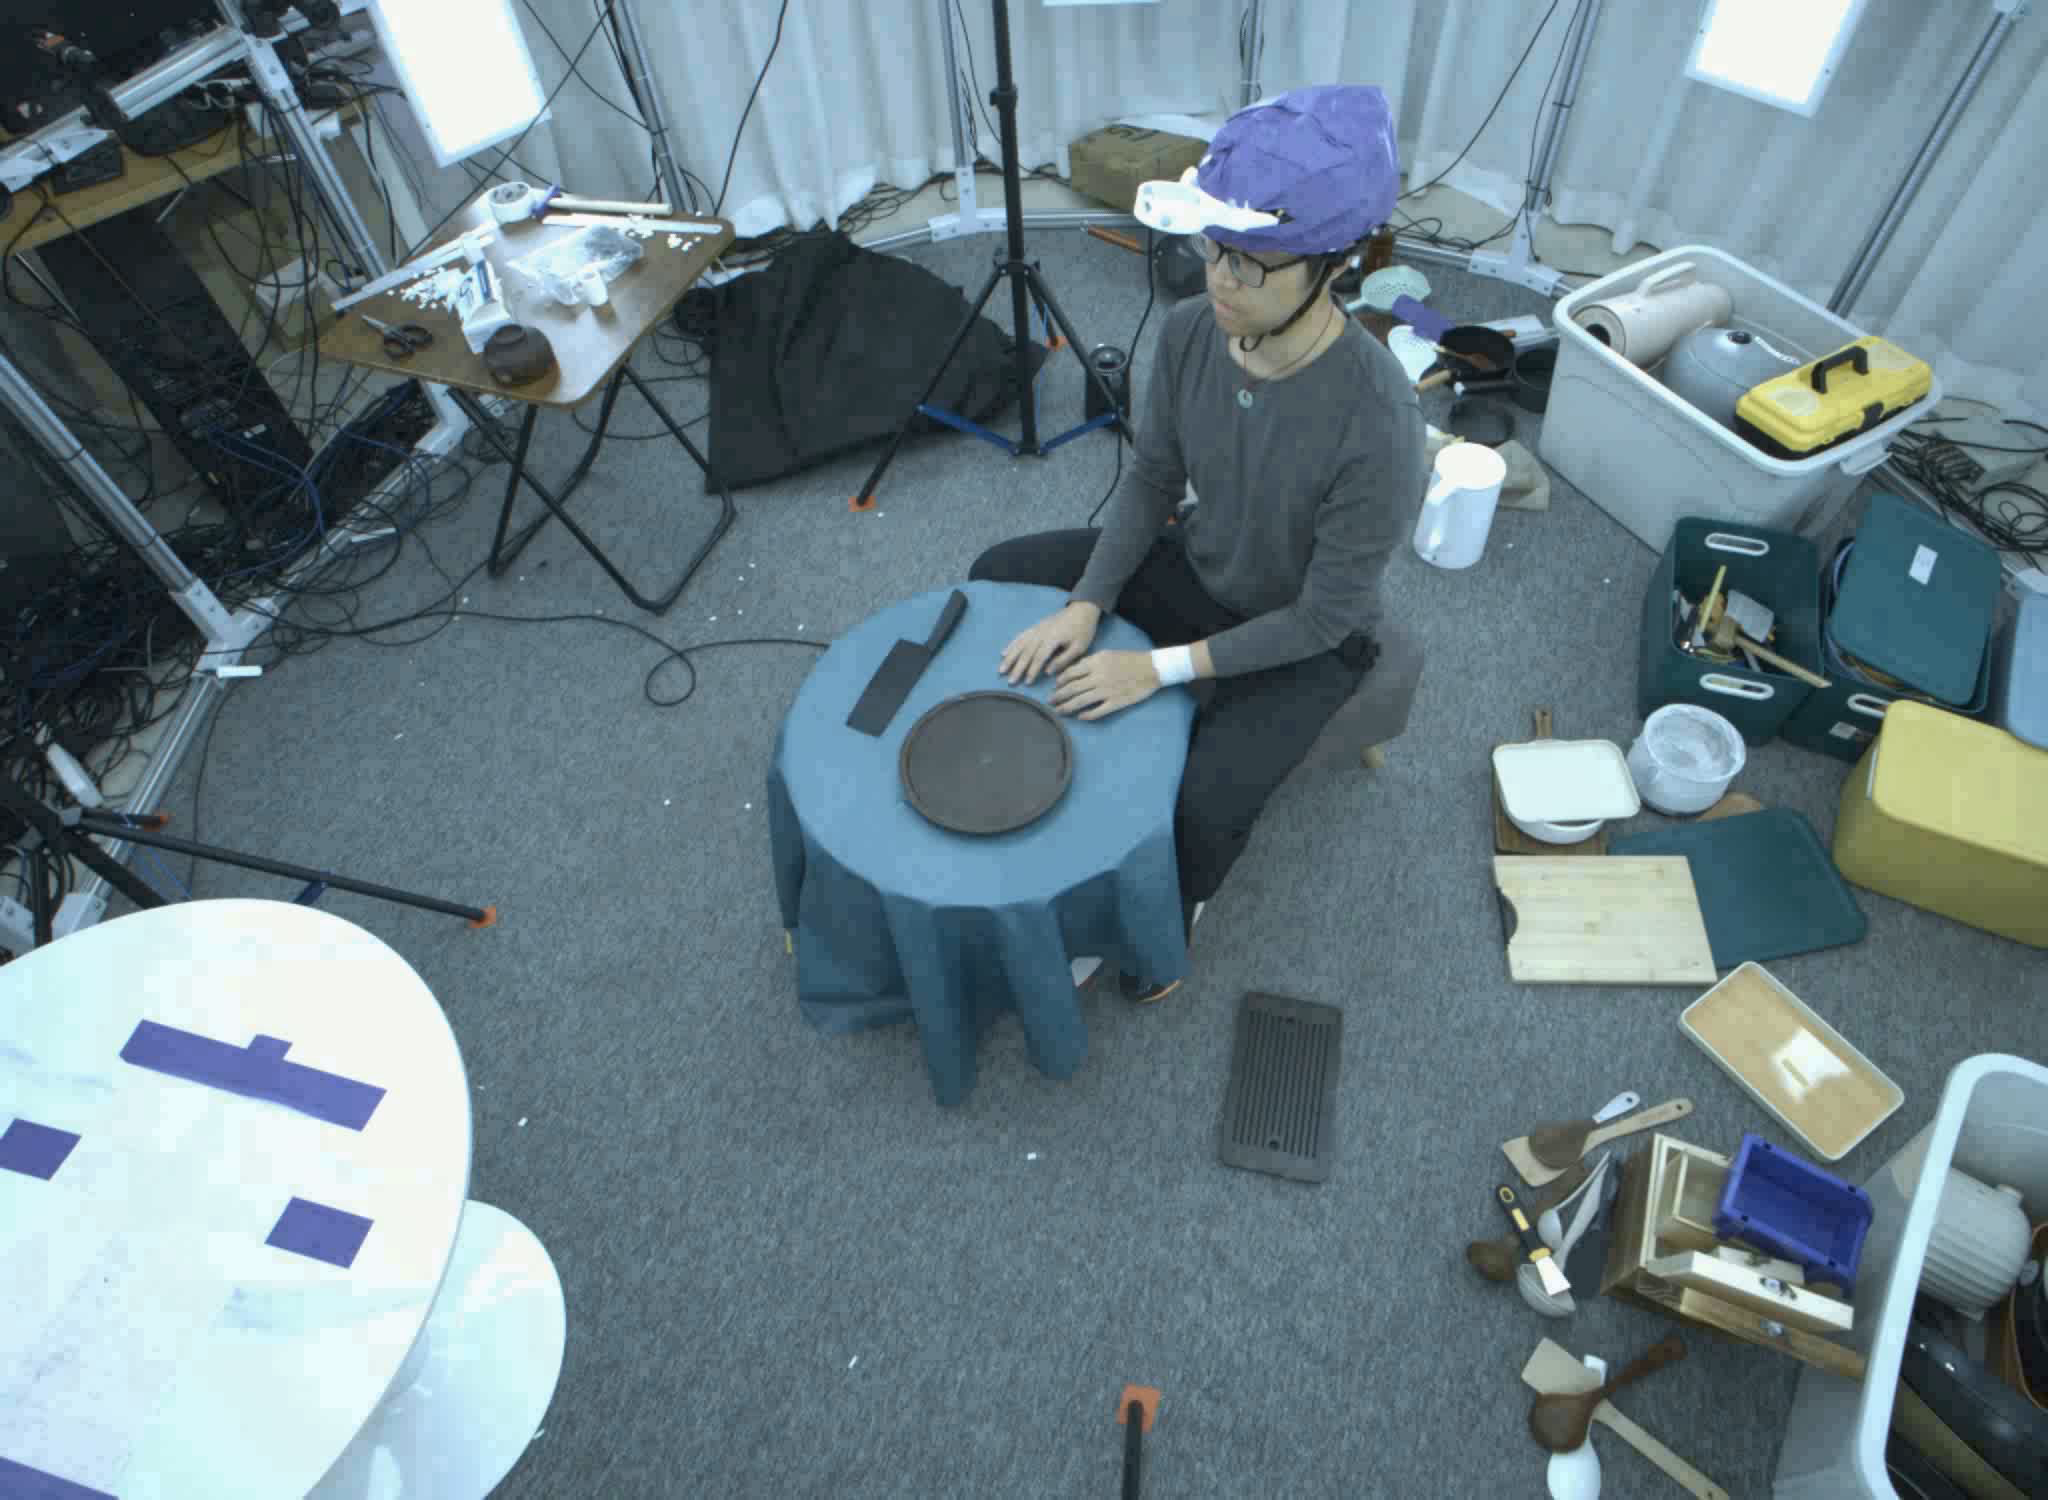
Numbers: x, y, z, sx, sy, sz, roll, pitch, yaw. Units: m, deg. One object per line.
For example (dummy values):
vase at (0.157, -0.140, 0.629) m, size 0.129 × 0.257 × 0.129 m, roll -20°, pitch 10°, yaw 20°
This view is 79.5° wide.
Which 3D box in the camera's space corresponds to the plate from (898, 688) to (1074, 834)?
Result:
plate at (-0.054, 0.015, 1.772) m, size 0.254 × 0.029 × 0.252 m, roll -1°, pitch 54°, yaw 2°

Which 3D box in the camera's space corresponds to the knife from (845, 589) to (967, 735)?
knife at (-0.176, -0.141, 1.892) m, size 0.080 × 0.021 × 0.303 m, roll 24°, pitch 60°, yaw 19°
